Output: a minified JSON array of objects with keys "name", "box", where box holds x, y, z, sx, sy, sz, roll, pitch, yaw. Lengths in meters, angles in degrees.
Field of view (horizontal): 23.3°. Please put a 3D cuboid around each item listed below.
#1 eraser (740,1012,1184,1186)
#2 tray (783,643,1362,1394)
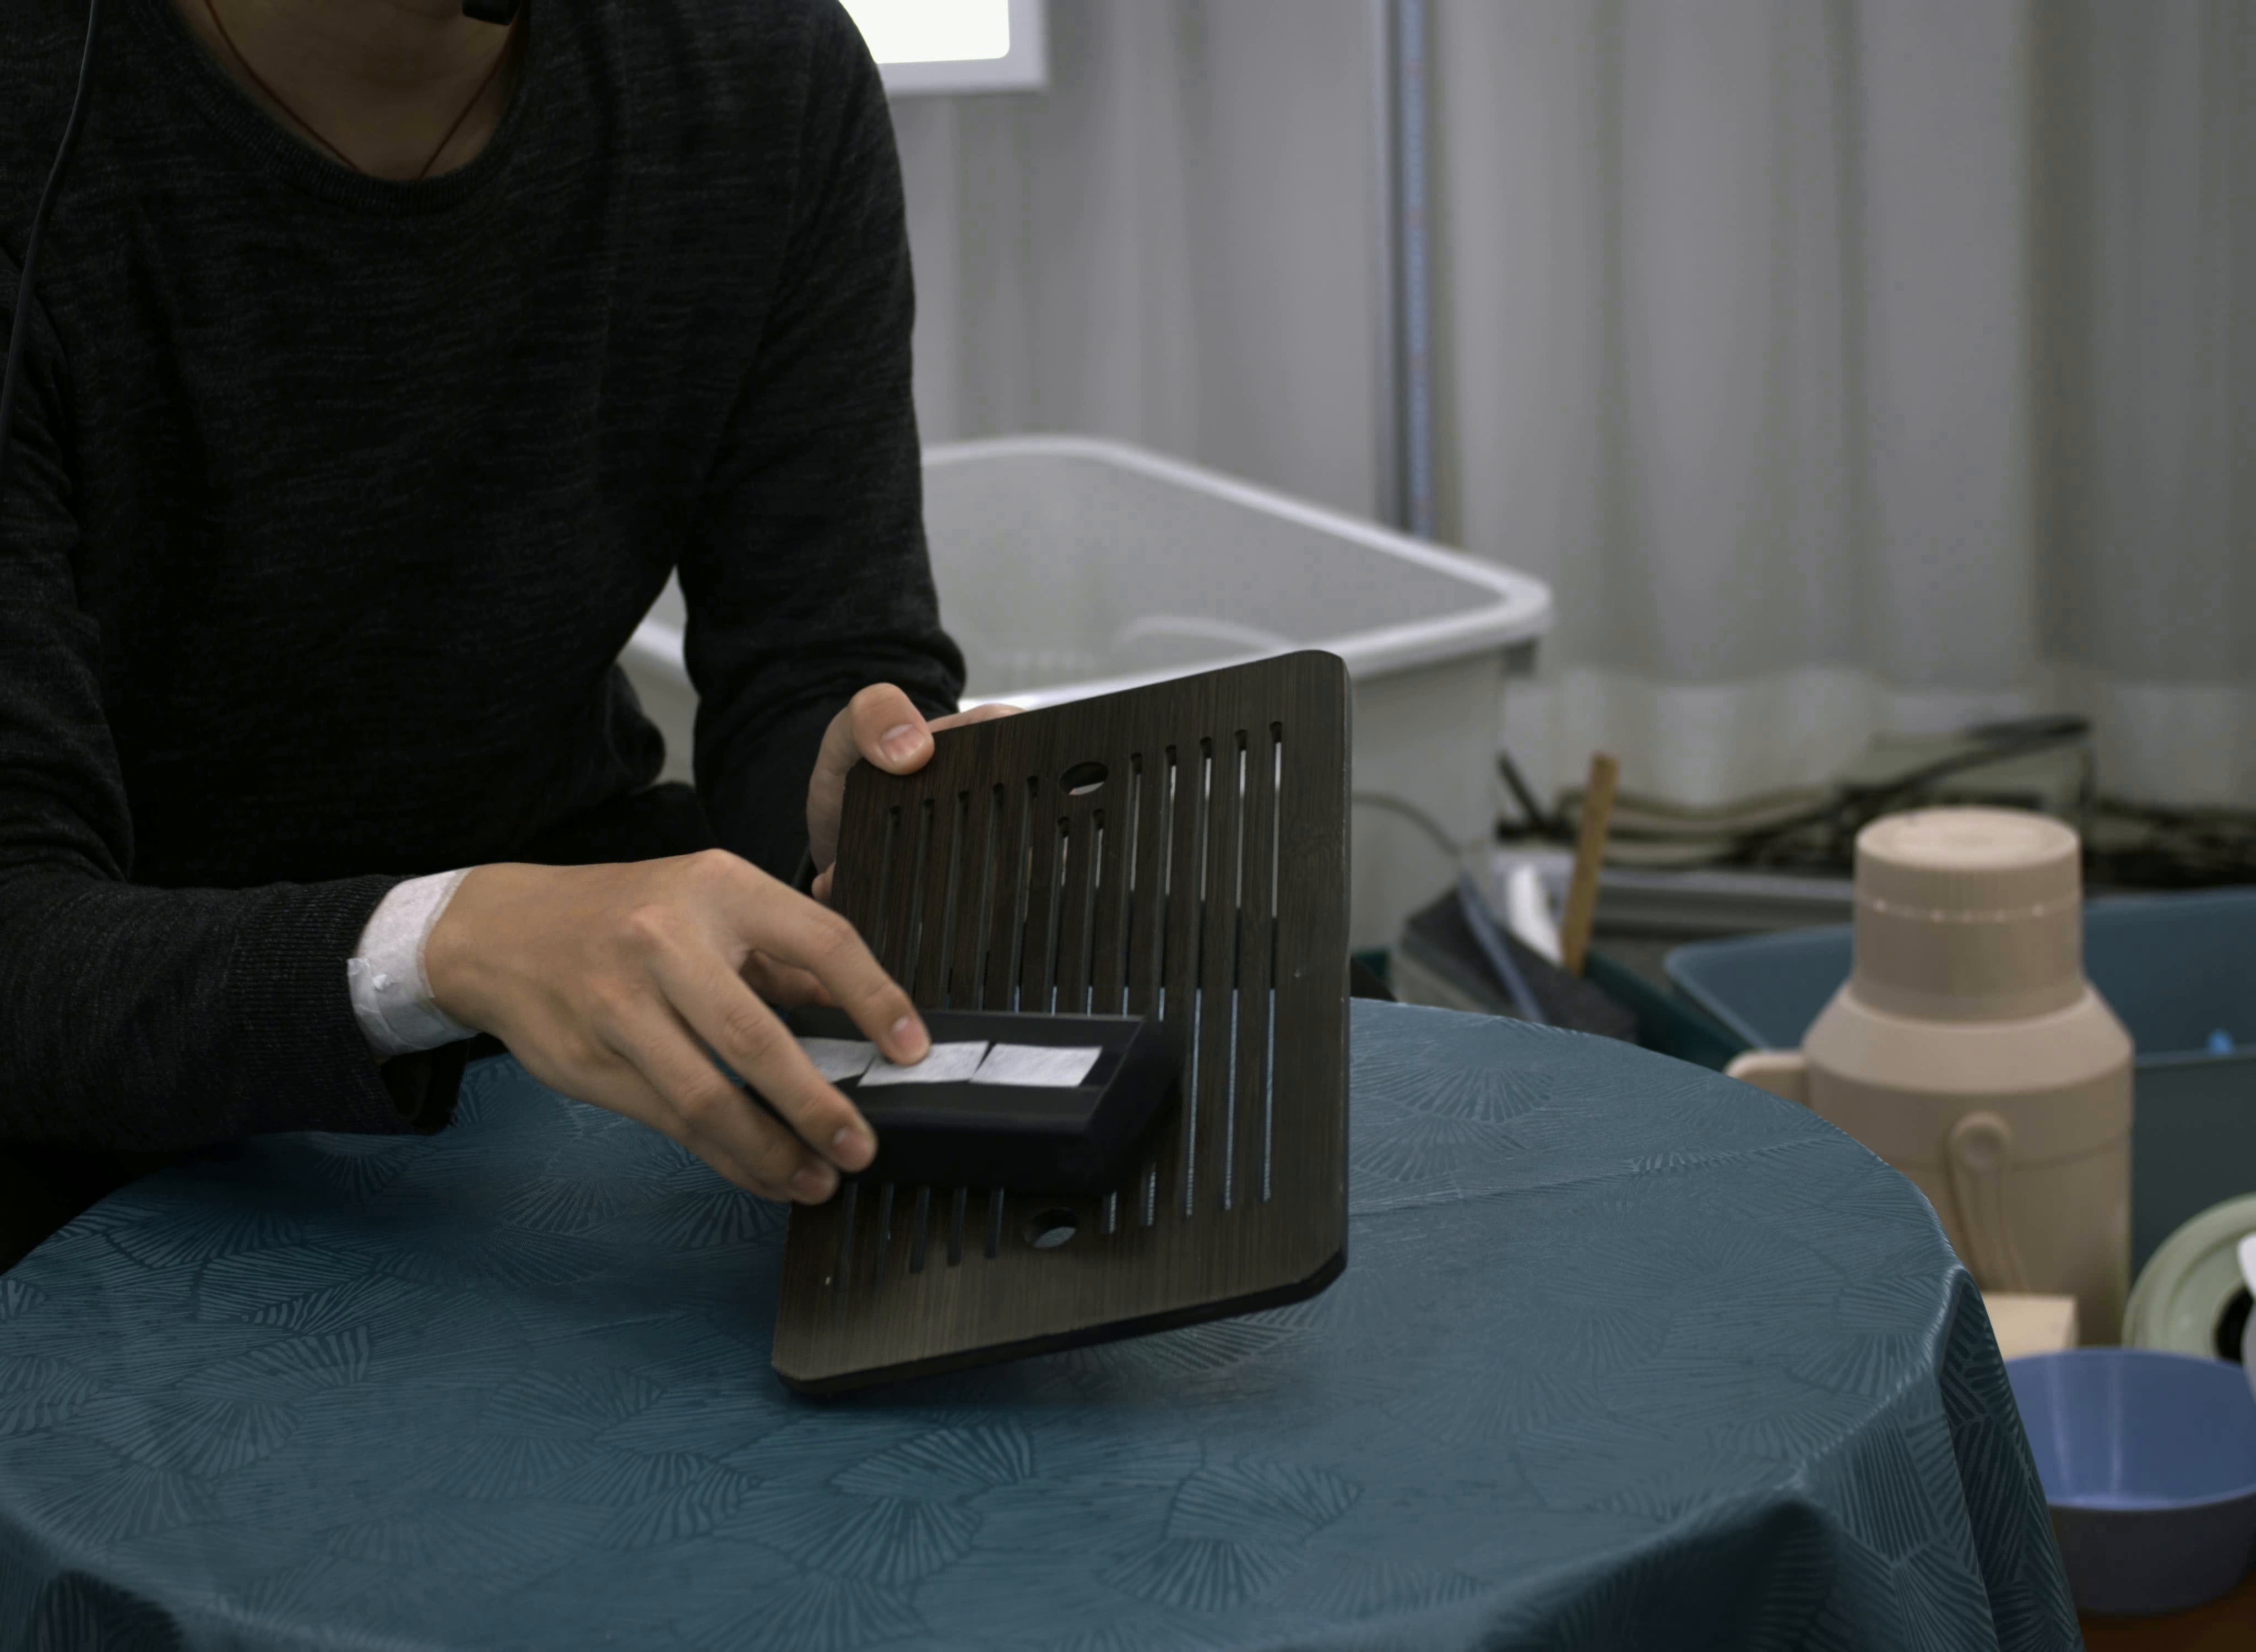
[{"name":"eraser","box":[-0.048,0.079,1.599,0.125,0.030,0.054,-2,36,29]},{"name":"tray","box":[-0.010,0.054,1.650,0.170,0.018,0.310,-13,35,12]}]
